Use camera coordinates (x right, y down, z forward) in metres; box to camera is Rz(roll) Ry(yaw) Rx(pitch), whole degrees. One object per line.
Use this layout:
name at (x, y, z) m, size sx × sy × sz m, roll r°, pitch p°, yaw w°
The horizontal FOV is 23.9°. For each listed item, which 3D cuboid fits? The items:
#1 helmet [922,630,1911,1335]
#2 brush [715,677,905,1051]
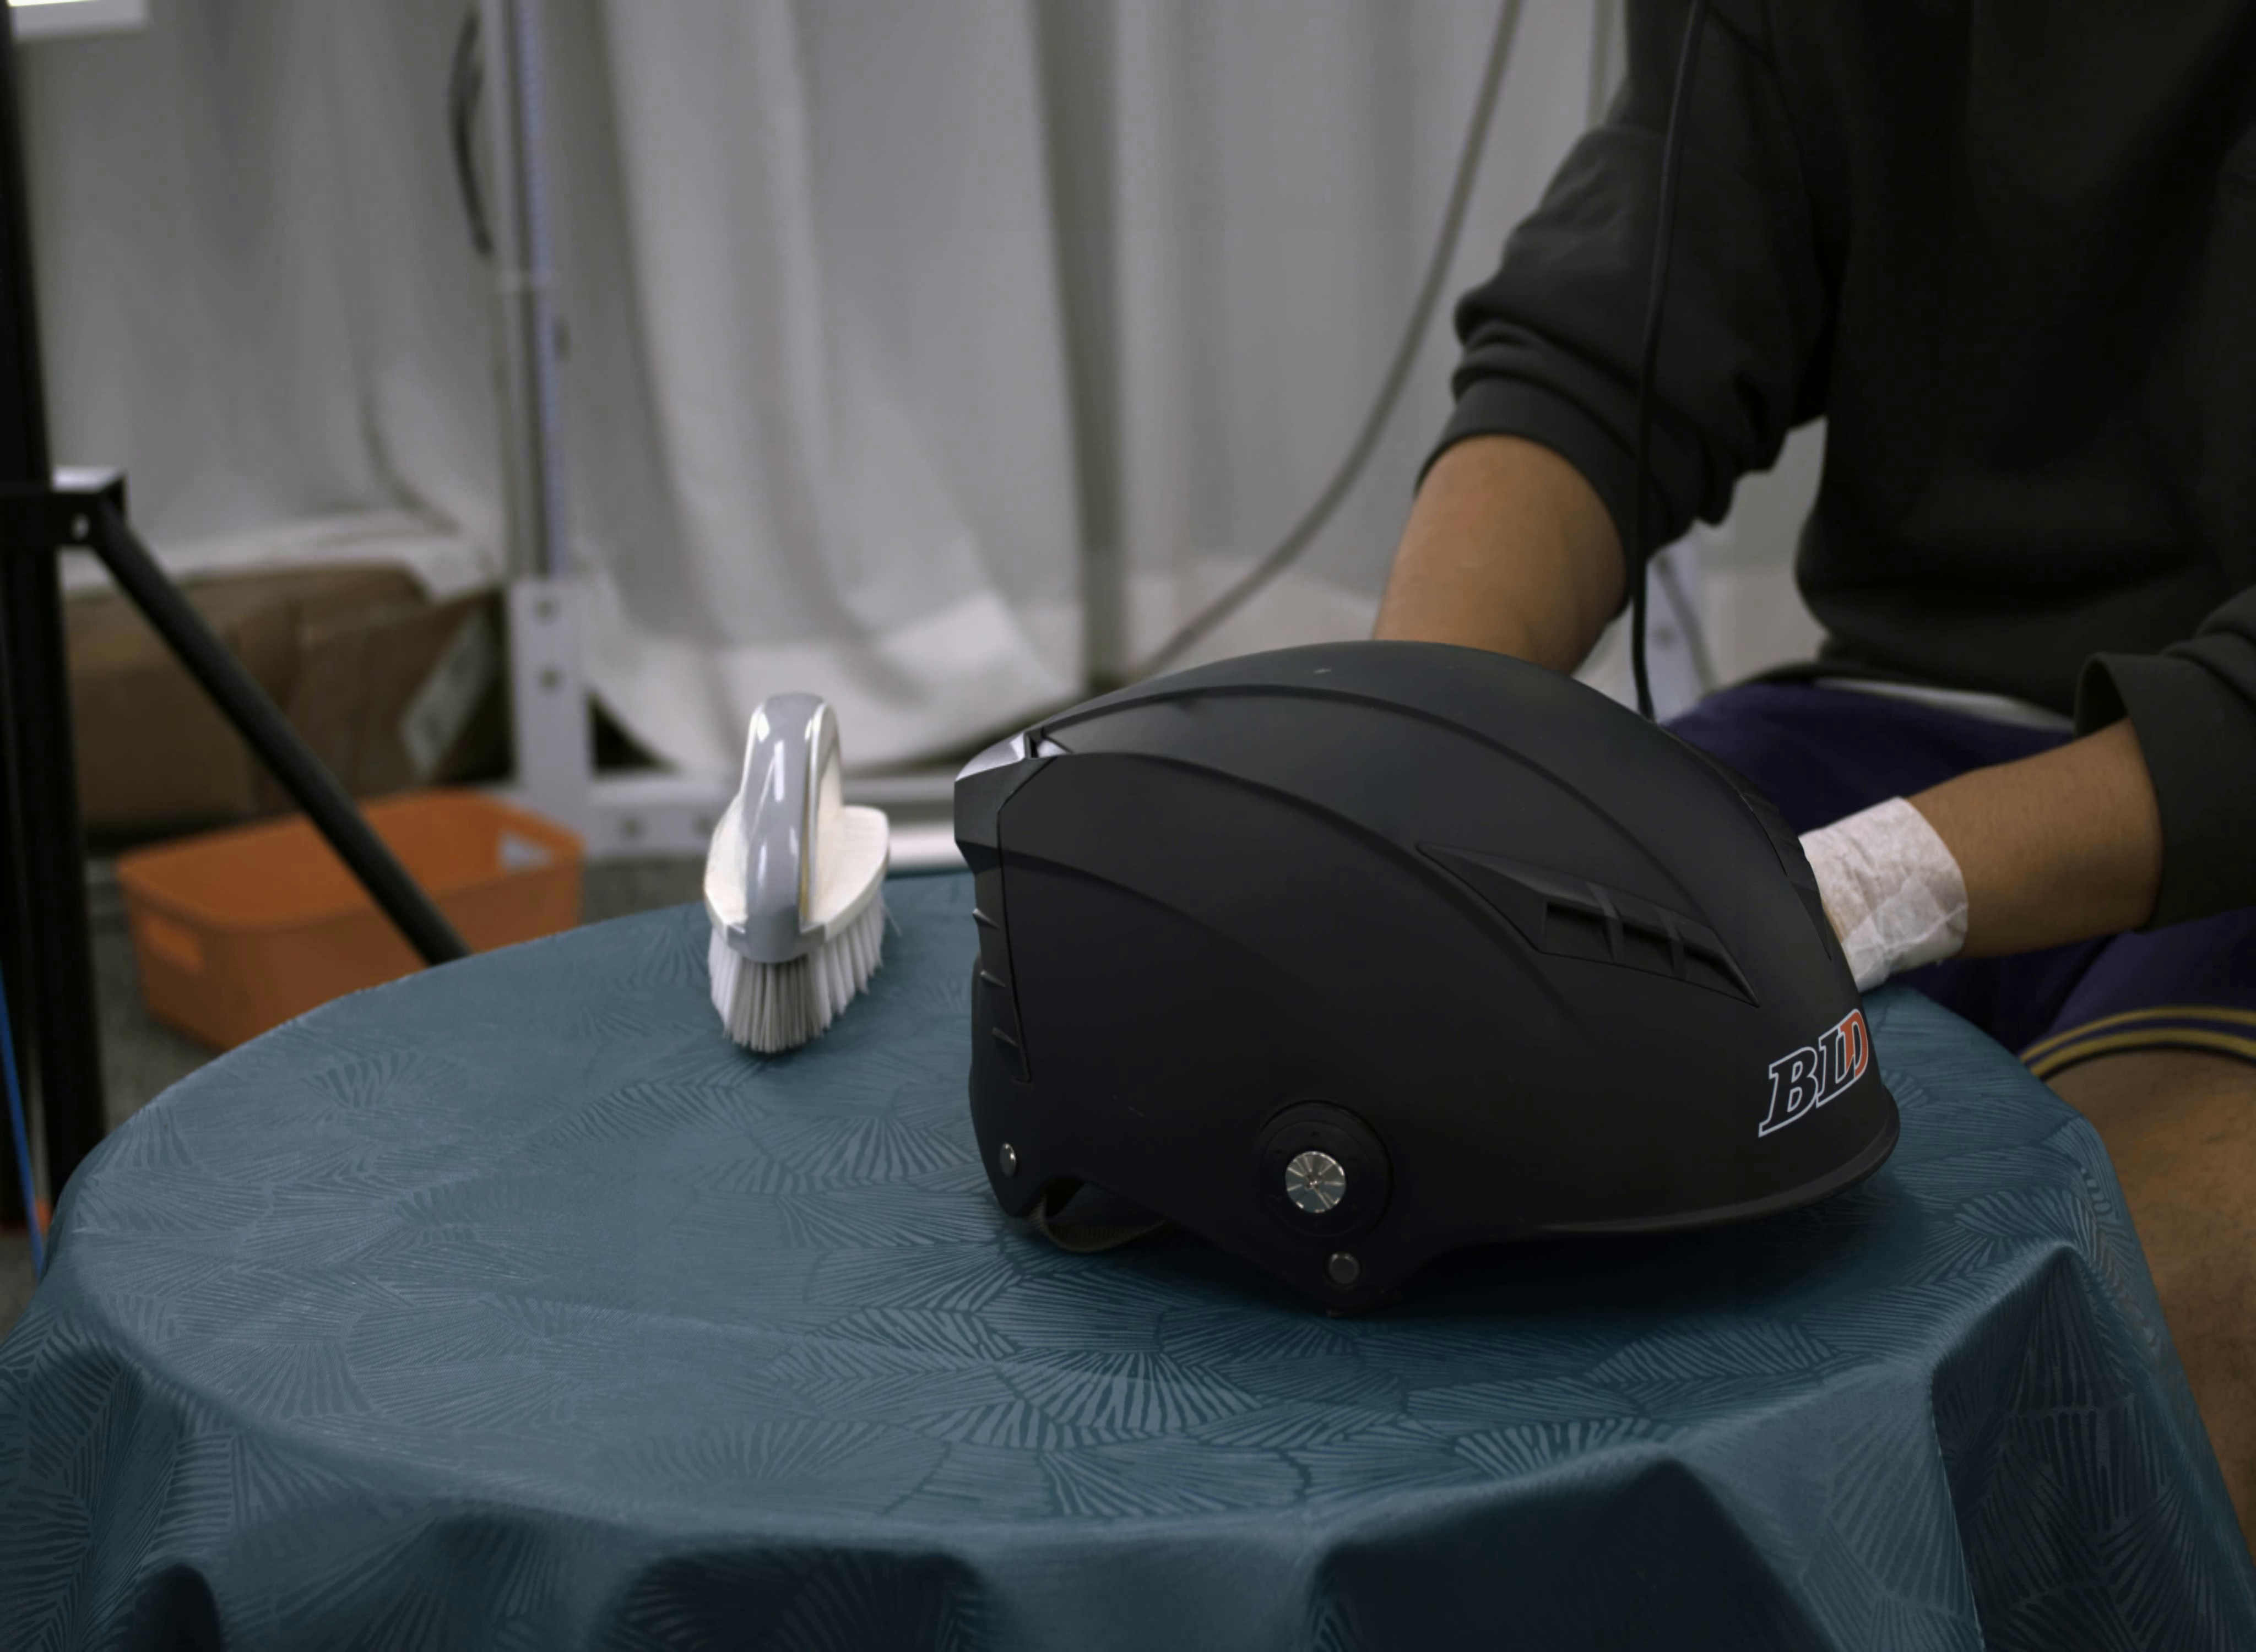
helmet at (0.080, 0.031, 1.528) m, size 0.282 × 0.172 × 0.242 m, roll 4°, pitch 17°, yaw 35°
brush at (-0.109, 0.007, 1.766) m, size 0.061 × 0.094 × 0.176 m, roll -5°, pitch 18°, yaw 4°
